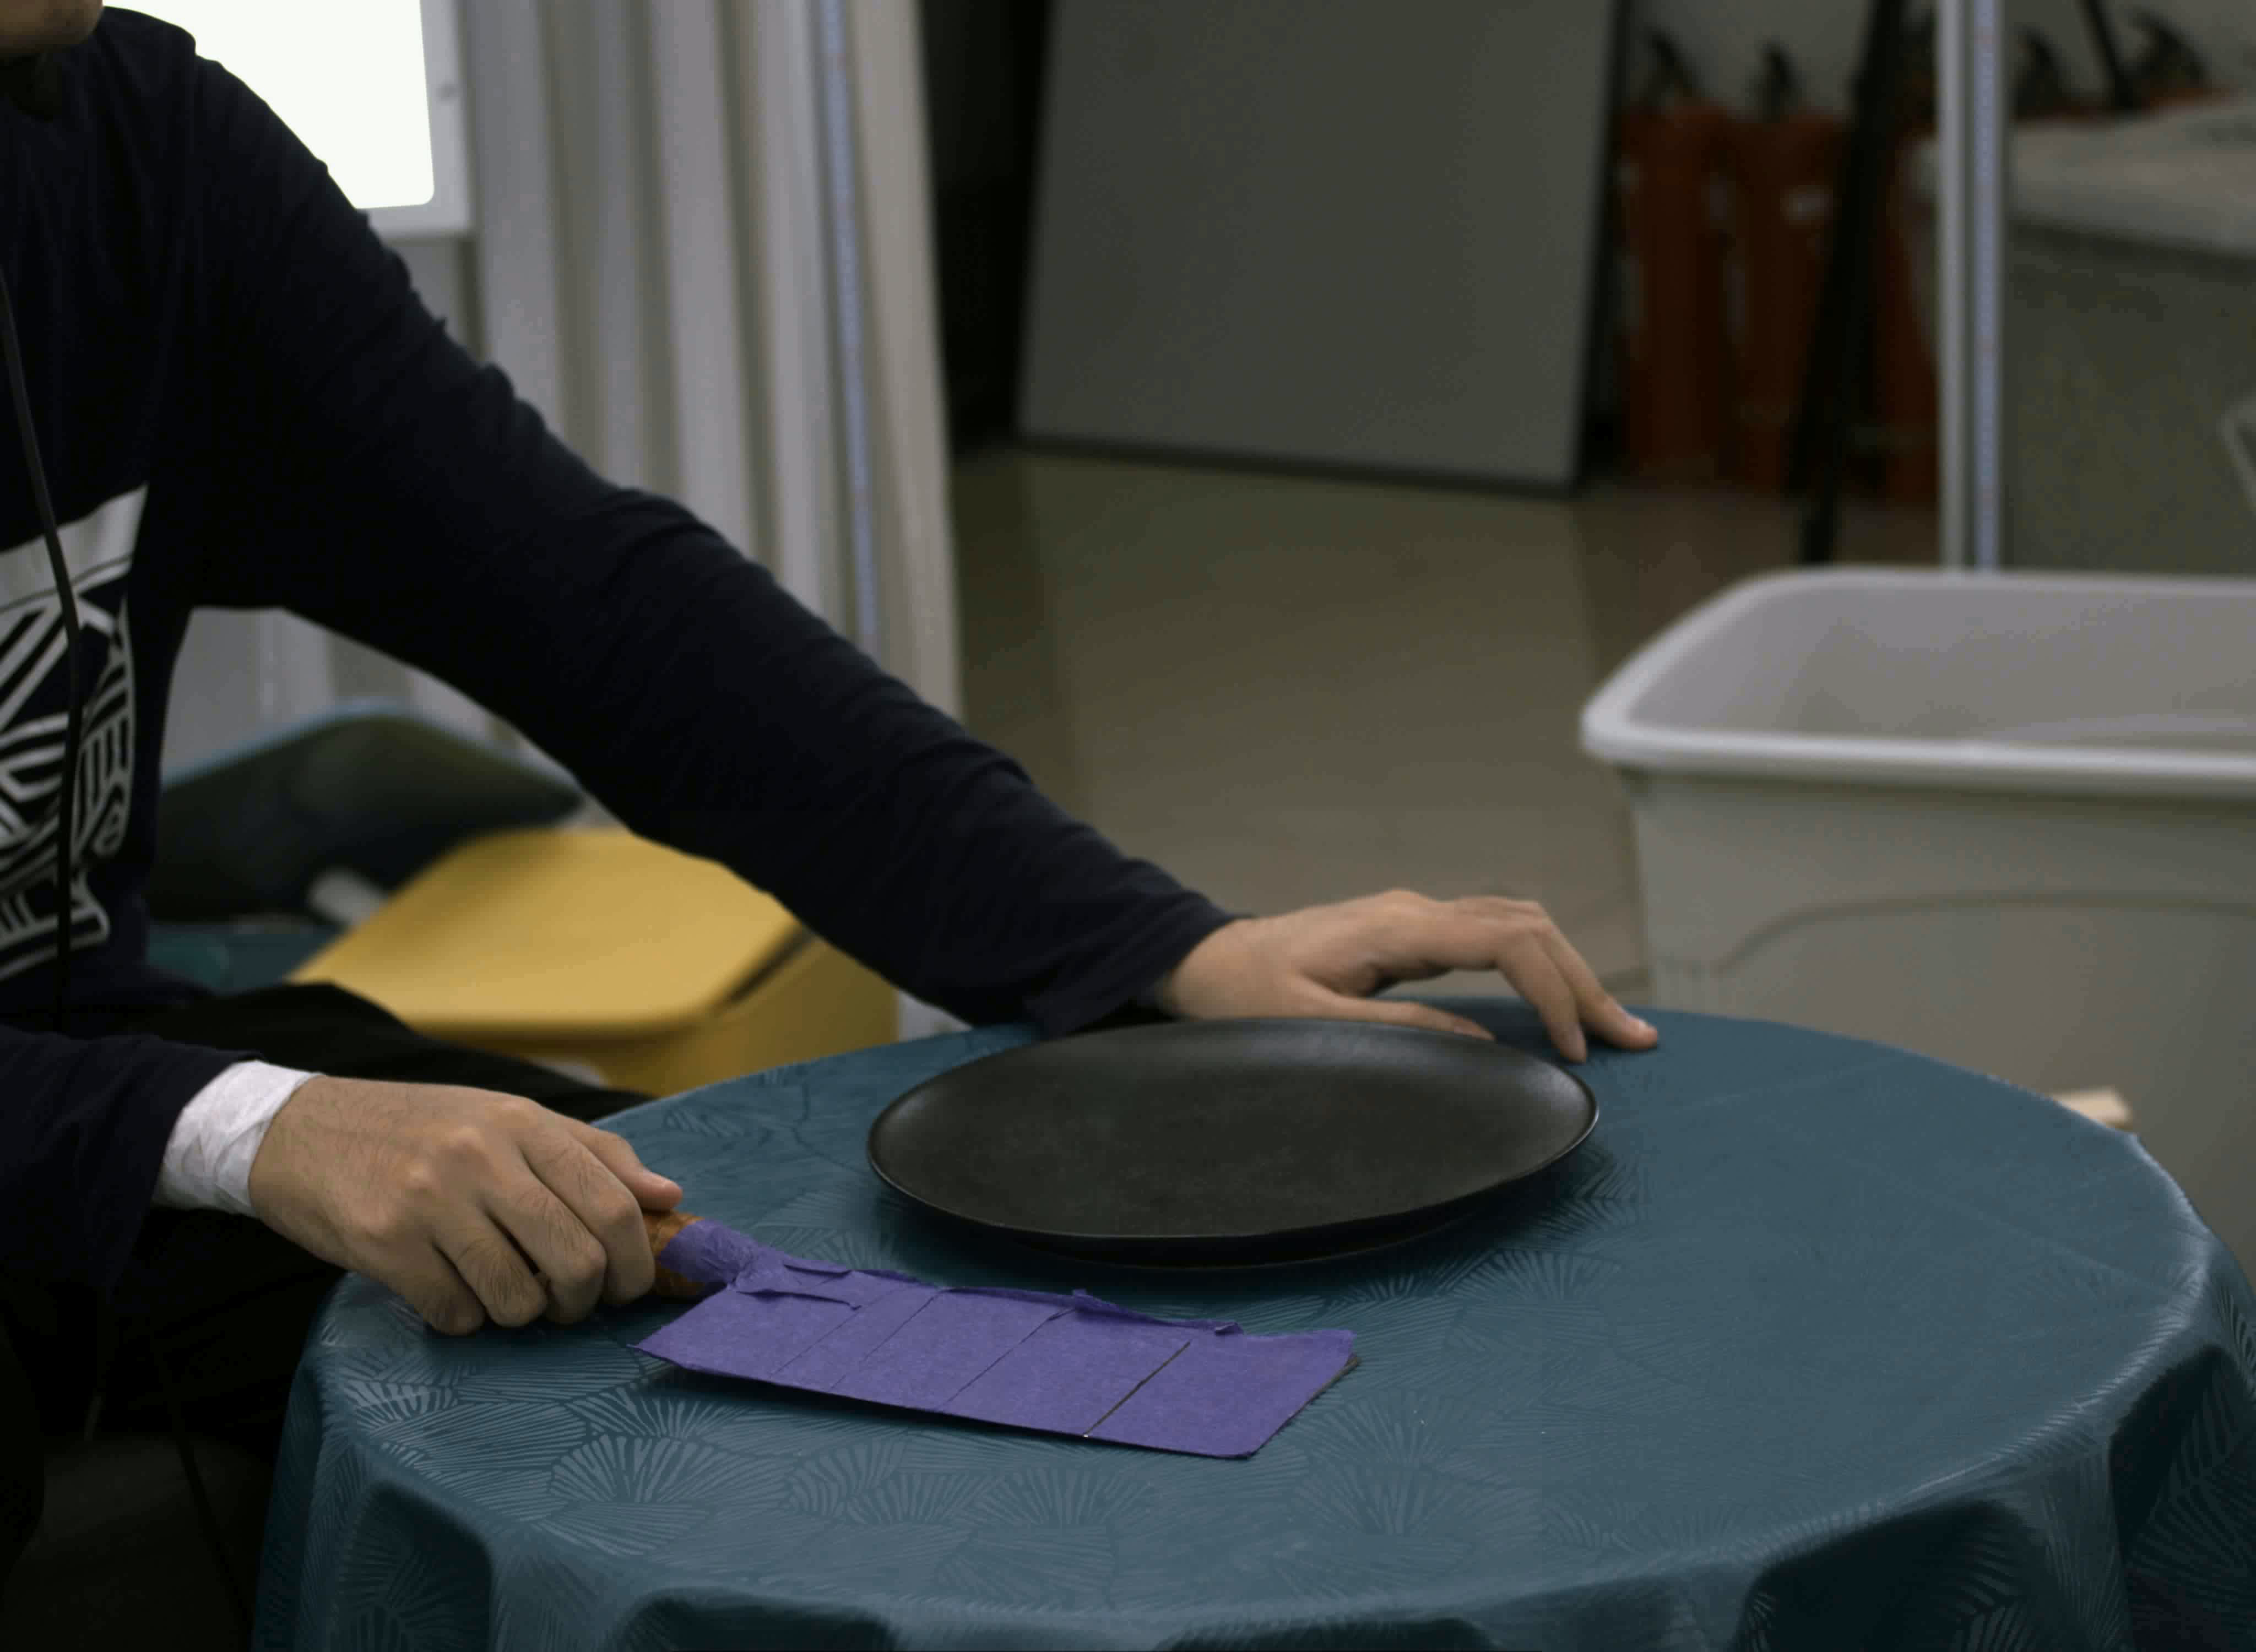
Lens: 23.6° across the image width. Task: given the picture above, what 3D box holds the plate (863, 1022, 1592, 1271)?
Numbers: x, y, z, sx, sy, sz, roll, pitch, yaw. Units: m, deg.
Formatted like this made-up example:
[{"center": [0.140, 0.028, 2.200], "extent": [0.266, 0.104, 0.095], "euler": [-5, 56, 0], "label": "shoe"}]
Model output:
[{"center": [0.033, 0.108, 1.774], "extent": [0.241, 0.024, 0.245], "euler": [-4, 14, 0], "label": "plate"}]

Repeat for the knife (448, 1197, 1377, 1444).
[{"center": [-0.084, 0.149, 1.630], "extent": [0.316, 0.032, 0.102], "euler": [3, 15, 27], "label": "knife"}]
